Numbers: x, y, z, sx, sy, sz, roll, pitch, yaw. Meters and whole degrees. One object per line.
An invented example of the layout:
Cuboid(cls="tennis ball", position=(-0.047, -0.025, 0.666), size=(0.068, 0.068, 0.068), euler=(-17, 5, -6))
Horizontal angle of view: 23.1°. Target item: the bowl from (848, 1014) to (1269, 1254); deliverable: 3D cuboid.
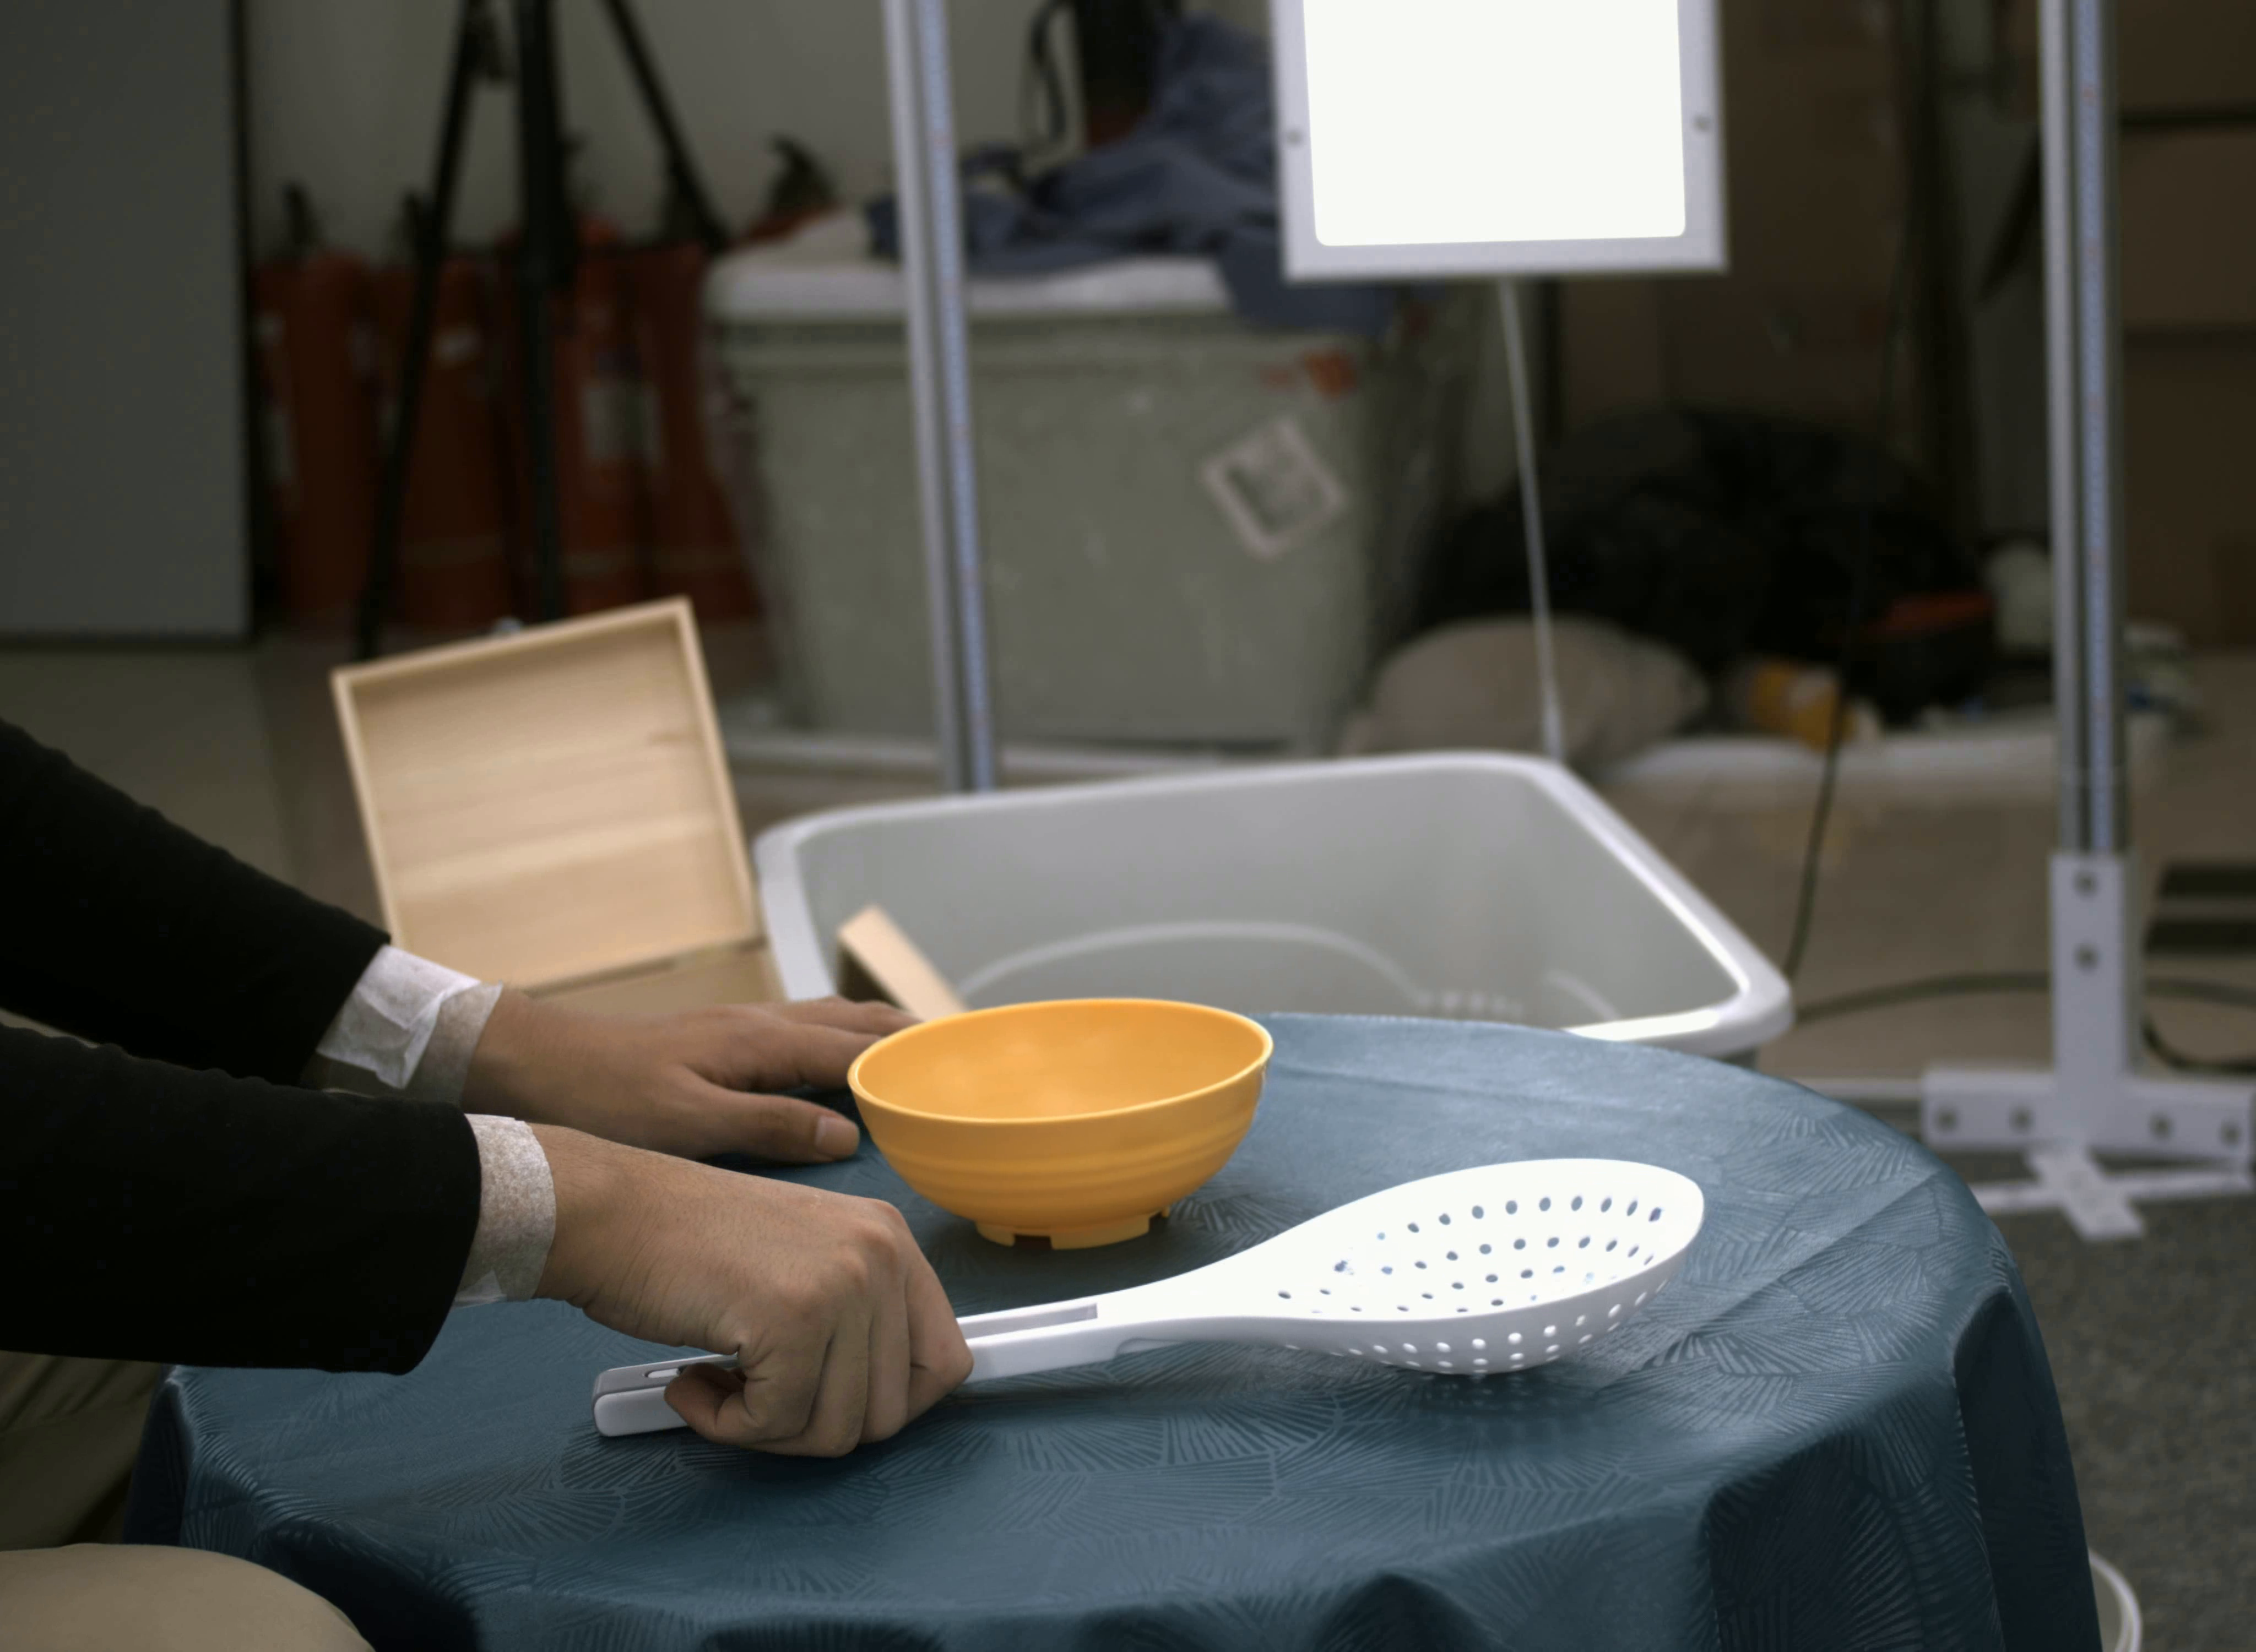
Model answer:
Cuboid(cls="bowl", position=(-0.022, 0.108, 1.865), size=(0.145, 0.060, 0.145), euler=(-4, 12, 0))

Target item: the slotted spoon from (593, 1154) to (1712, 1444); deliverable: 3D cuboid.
Cuboid(cls="slotted spoon", position=(0.007, 0.151, 1.698), size=(0.349, 0.046, 0.136), euler=(-6, 15, 2))
